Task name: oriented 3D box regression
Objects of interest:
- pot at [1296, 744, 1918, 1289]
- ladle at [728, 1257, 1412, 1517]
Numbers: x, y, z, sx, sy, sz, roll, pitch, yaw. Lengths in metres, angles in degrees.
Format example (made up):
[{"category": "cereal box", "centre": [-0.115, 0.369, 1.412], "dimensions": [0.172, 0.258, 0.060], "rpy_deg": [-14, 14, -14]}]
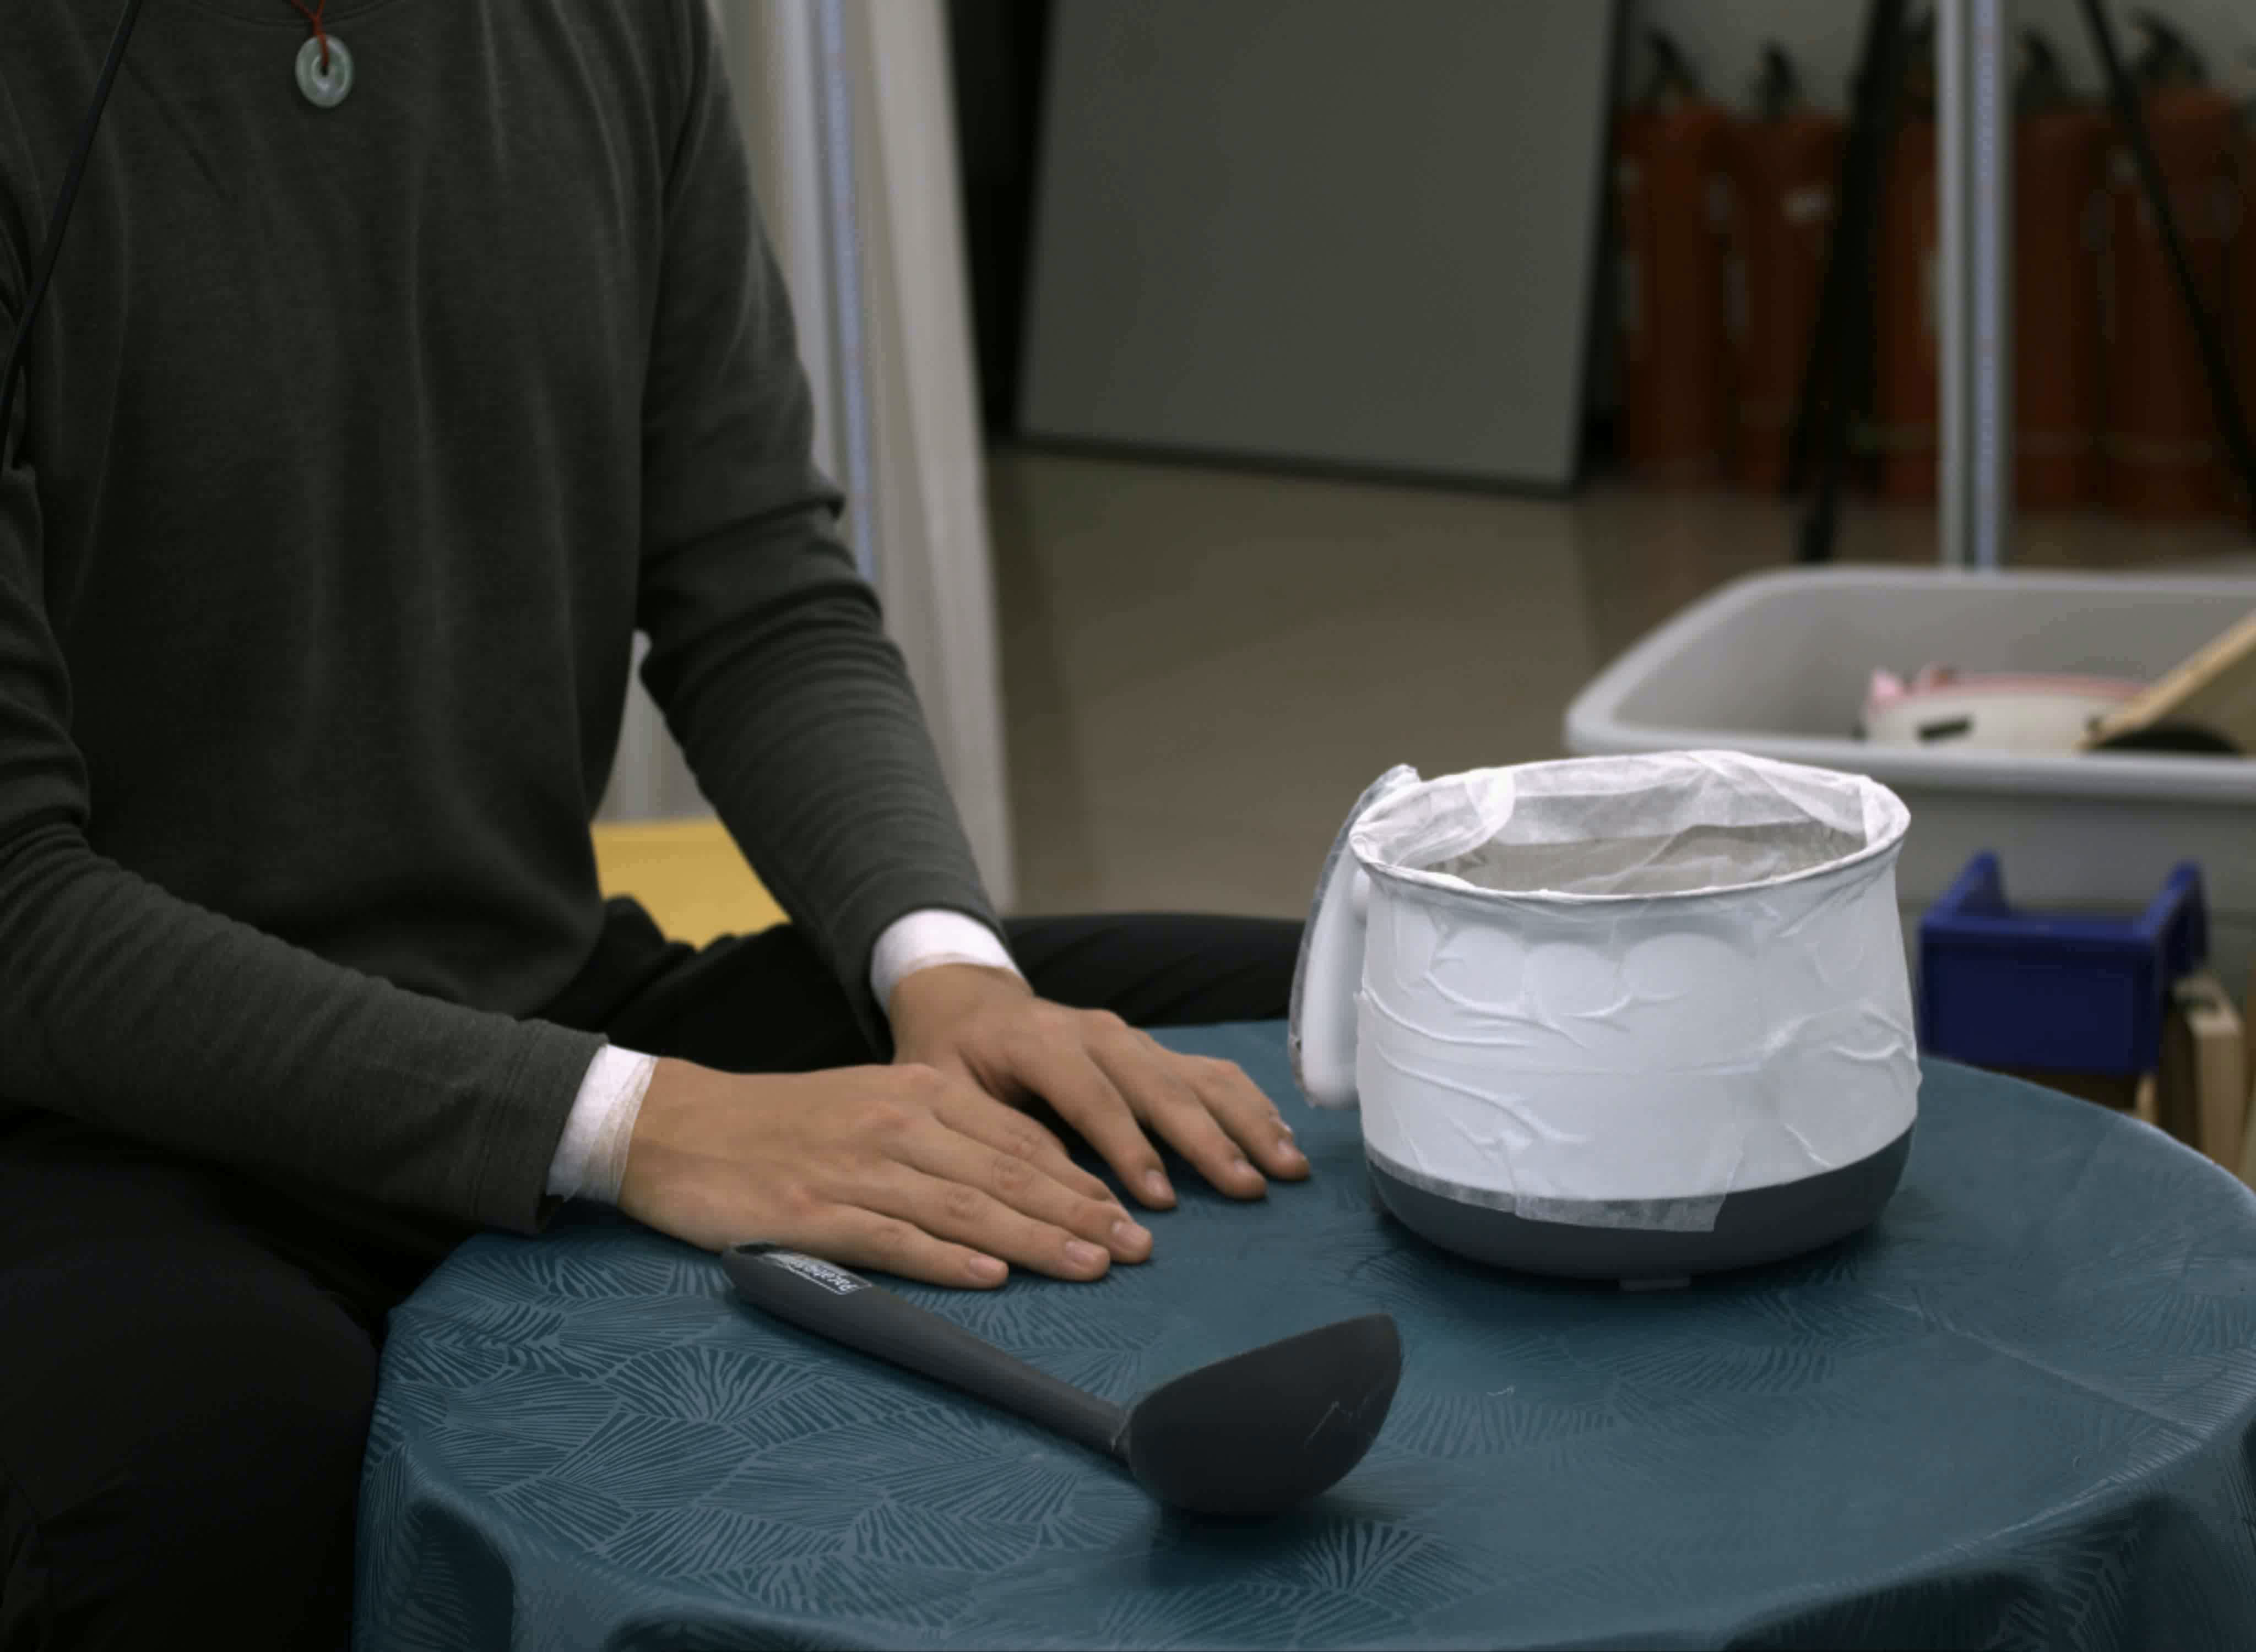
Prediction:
[{"category": "pot", "centre": [0.141, 0.054, 1.714], "dimensions": [0.175, 0.138, 0.236], "rpy_deg": [-15, 18, -41]}, {"category": "ladle", "centre": [-0.033, 0.141, 1.568], "dimensions": [0.084, 0.065, 0.317], "rpy_deg": [-7, 12, -34]}]
